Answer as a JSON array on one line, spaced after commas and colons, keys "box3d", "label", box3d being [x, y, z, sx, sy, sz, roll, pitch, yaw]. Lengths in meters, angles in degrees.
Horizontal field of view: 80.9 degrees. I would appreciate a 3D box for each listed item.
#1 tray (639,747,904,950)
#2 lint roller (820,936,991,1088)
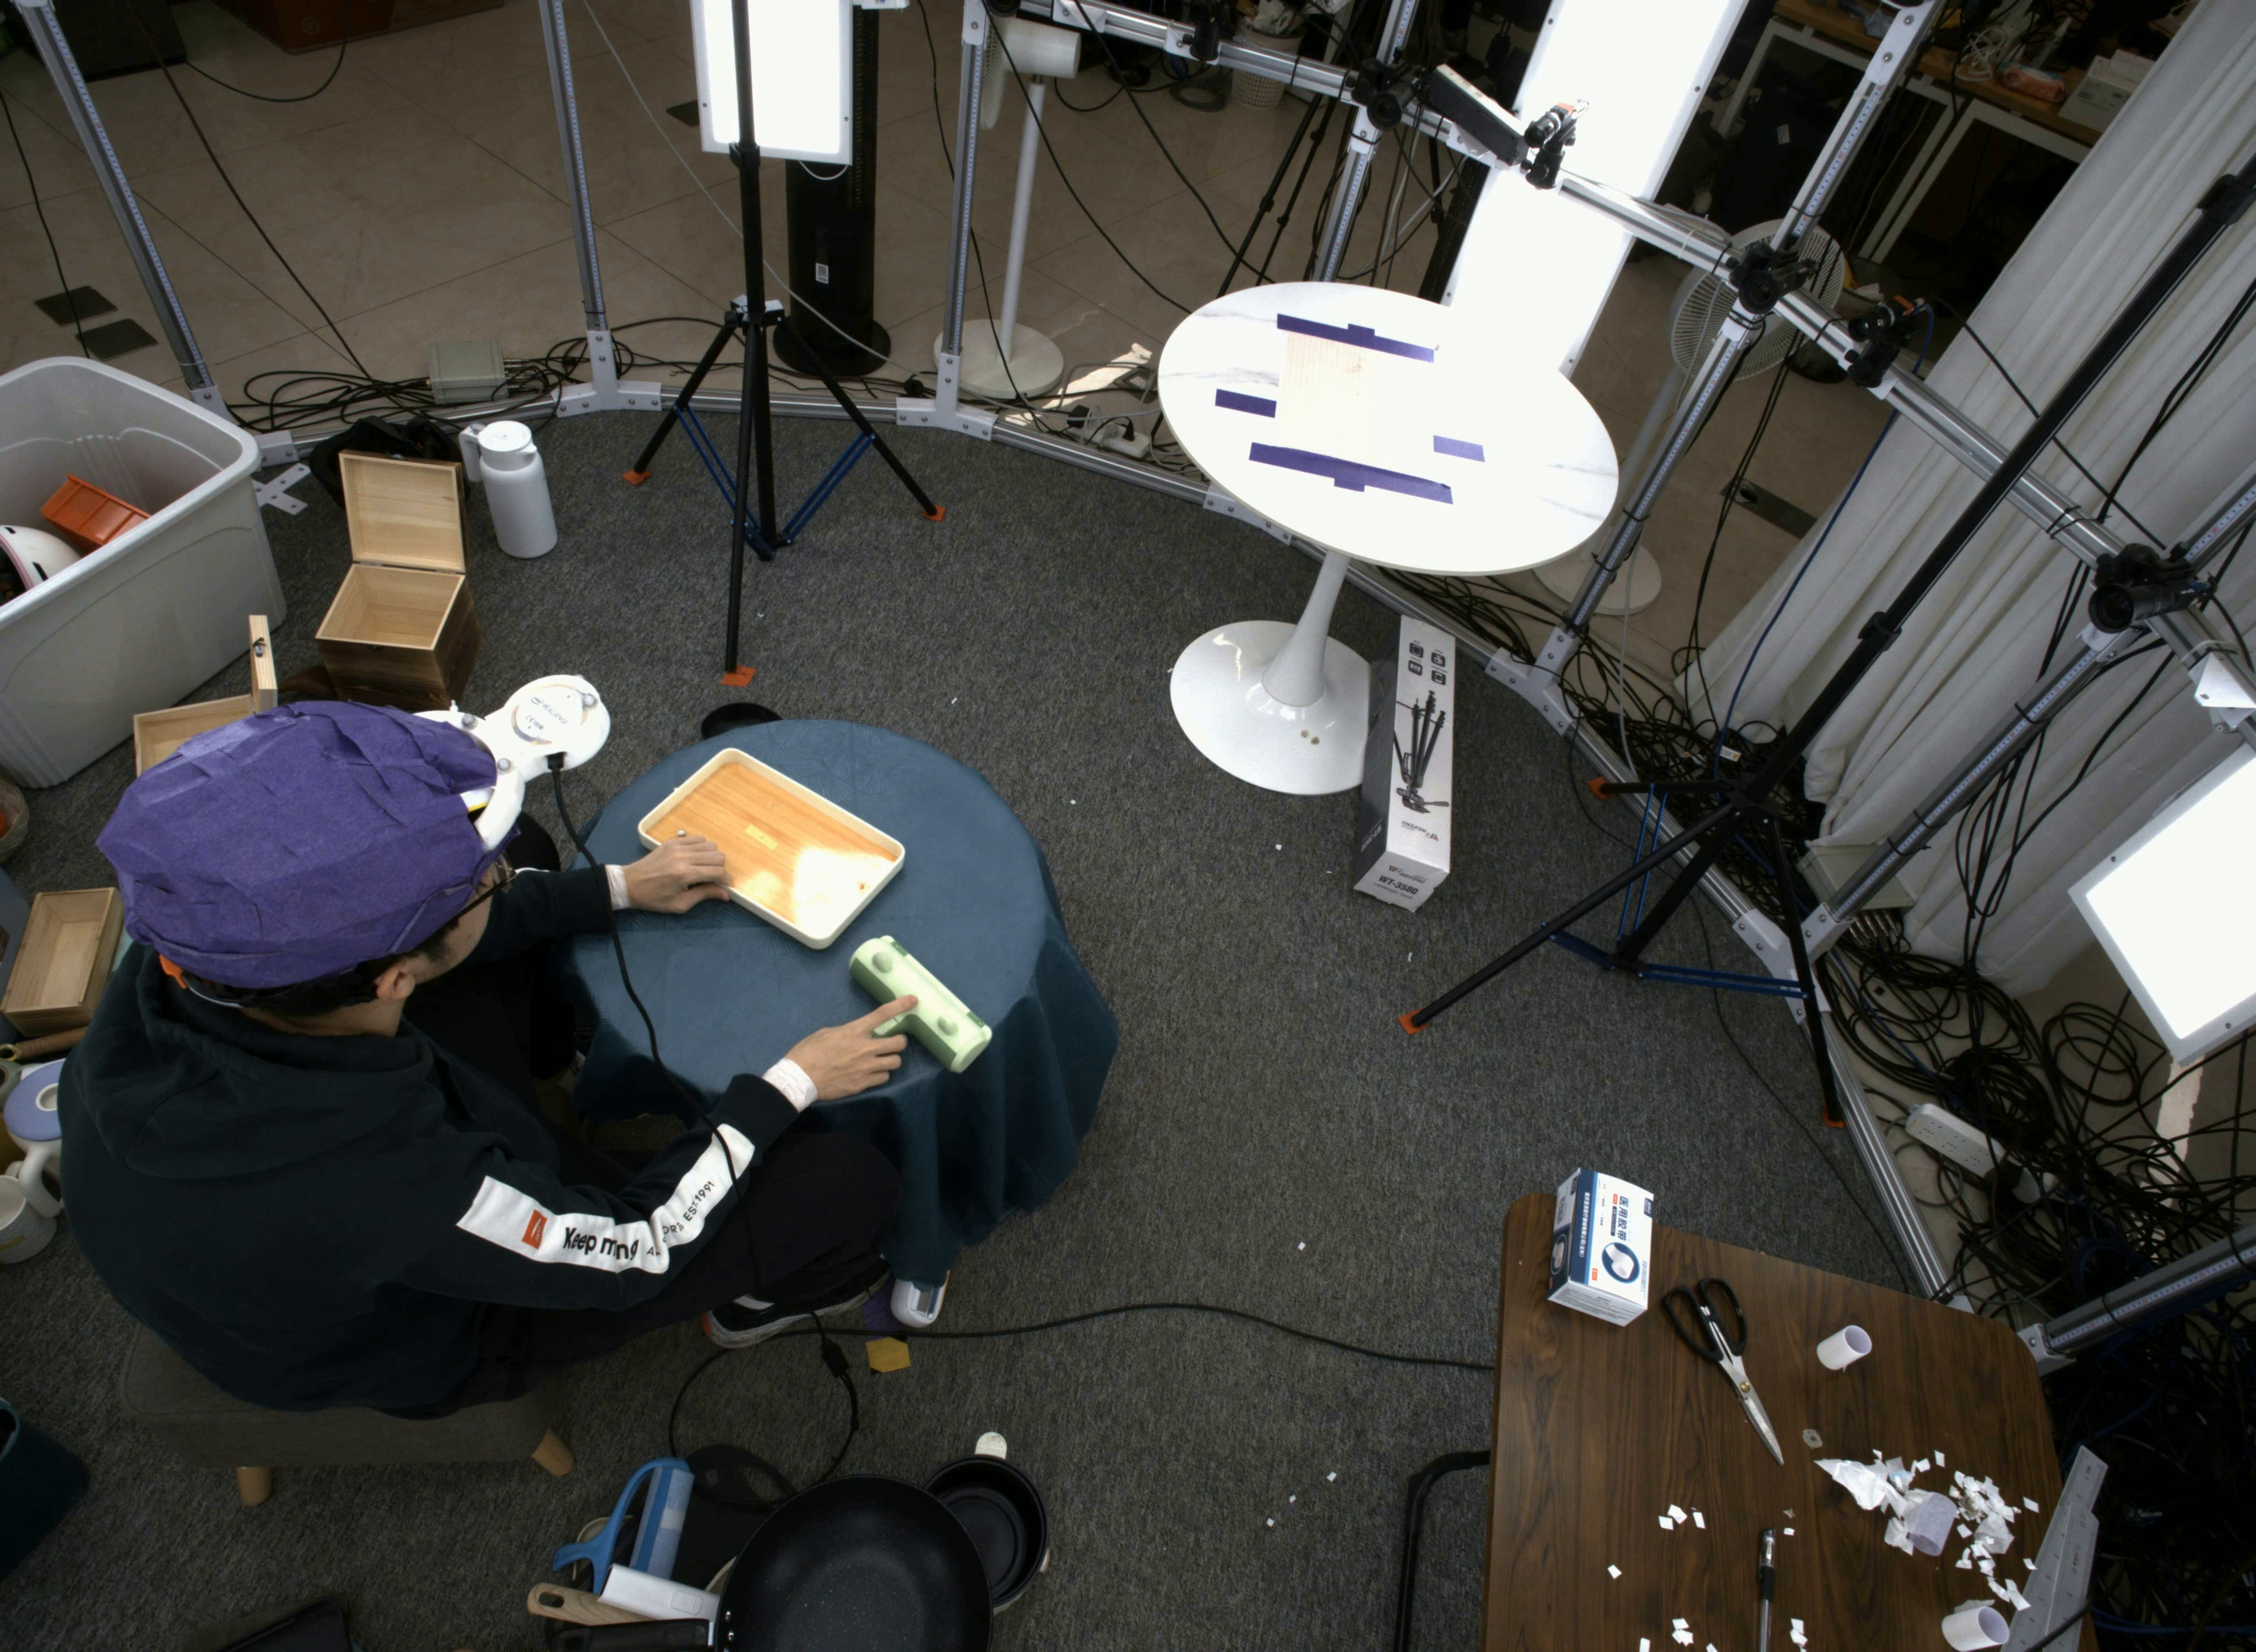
[{"box3d": [-0.461, 0.023, 1.678, 0.295, 0.028, 0.191, 29, 50, 8], "label": "tray"}, {"box3d": [-0.291, 0.234, 1.541, 0.194, 0.084, 0.184, 40, 50, 16], "label": "lint roller"}]
